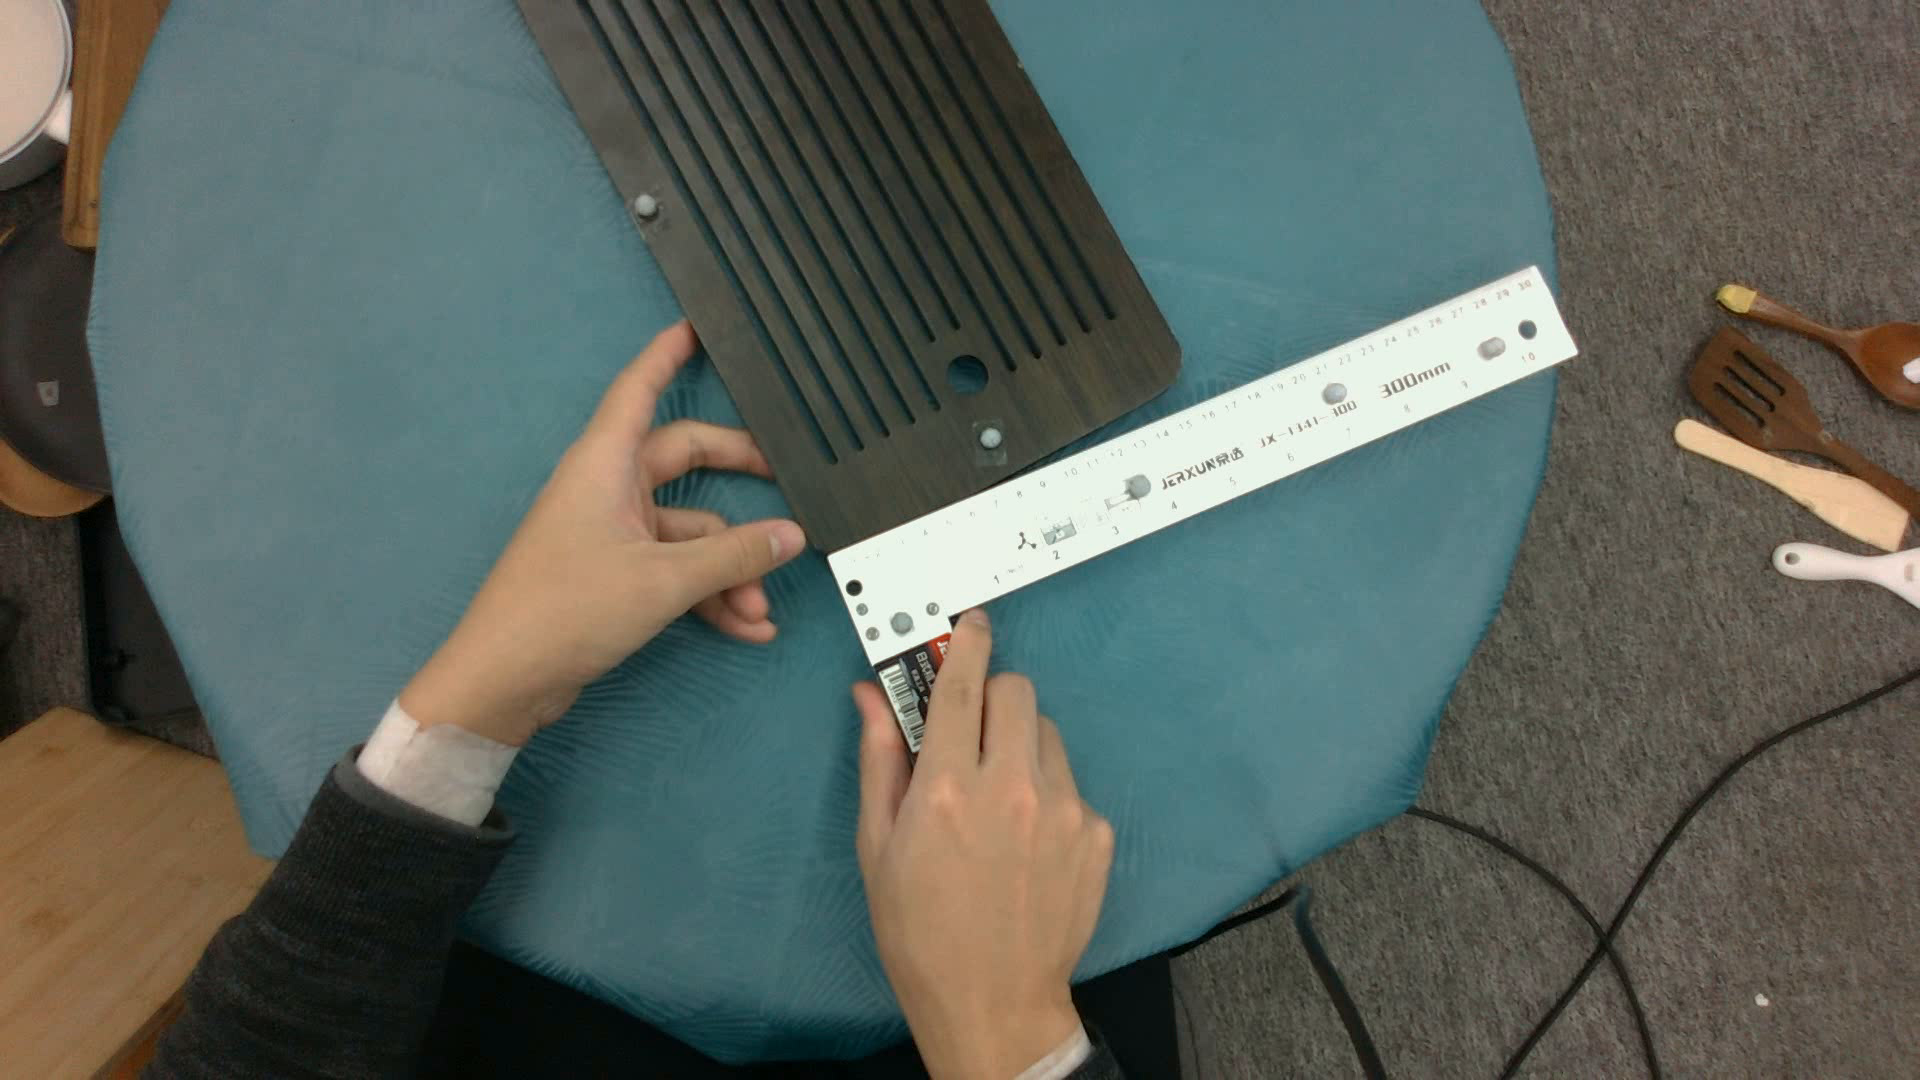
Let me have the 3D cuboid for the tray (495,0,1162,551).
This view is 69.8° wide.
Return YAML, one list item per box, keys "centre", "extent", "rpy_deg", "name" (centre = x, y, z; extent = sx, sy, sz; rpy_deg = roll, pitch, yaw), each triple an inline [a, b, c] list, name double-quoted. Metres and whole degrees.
- centre: [-0.061, -0.162, 0.561]
  extent: [0.170, 0.018, 0.306]
  rpy_deg: [-28, 86, -9]
  name: "tray"

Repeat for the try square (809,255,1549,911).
- centre: [0.111, 0.012, 0.542]
  extent: [0.313, 0.016, 0.152]
  rpy_deg: [-23, 86, -6]
  name: "try square"
